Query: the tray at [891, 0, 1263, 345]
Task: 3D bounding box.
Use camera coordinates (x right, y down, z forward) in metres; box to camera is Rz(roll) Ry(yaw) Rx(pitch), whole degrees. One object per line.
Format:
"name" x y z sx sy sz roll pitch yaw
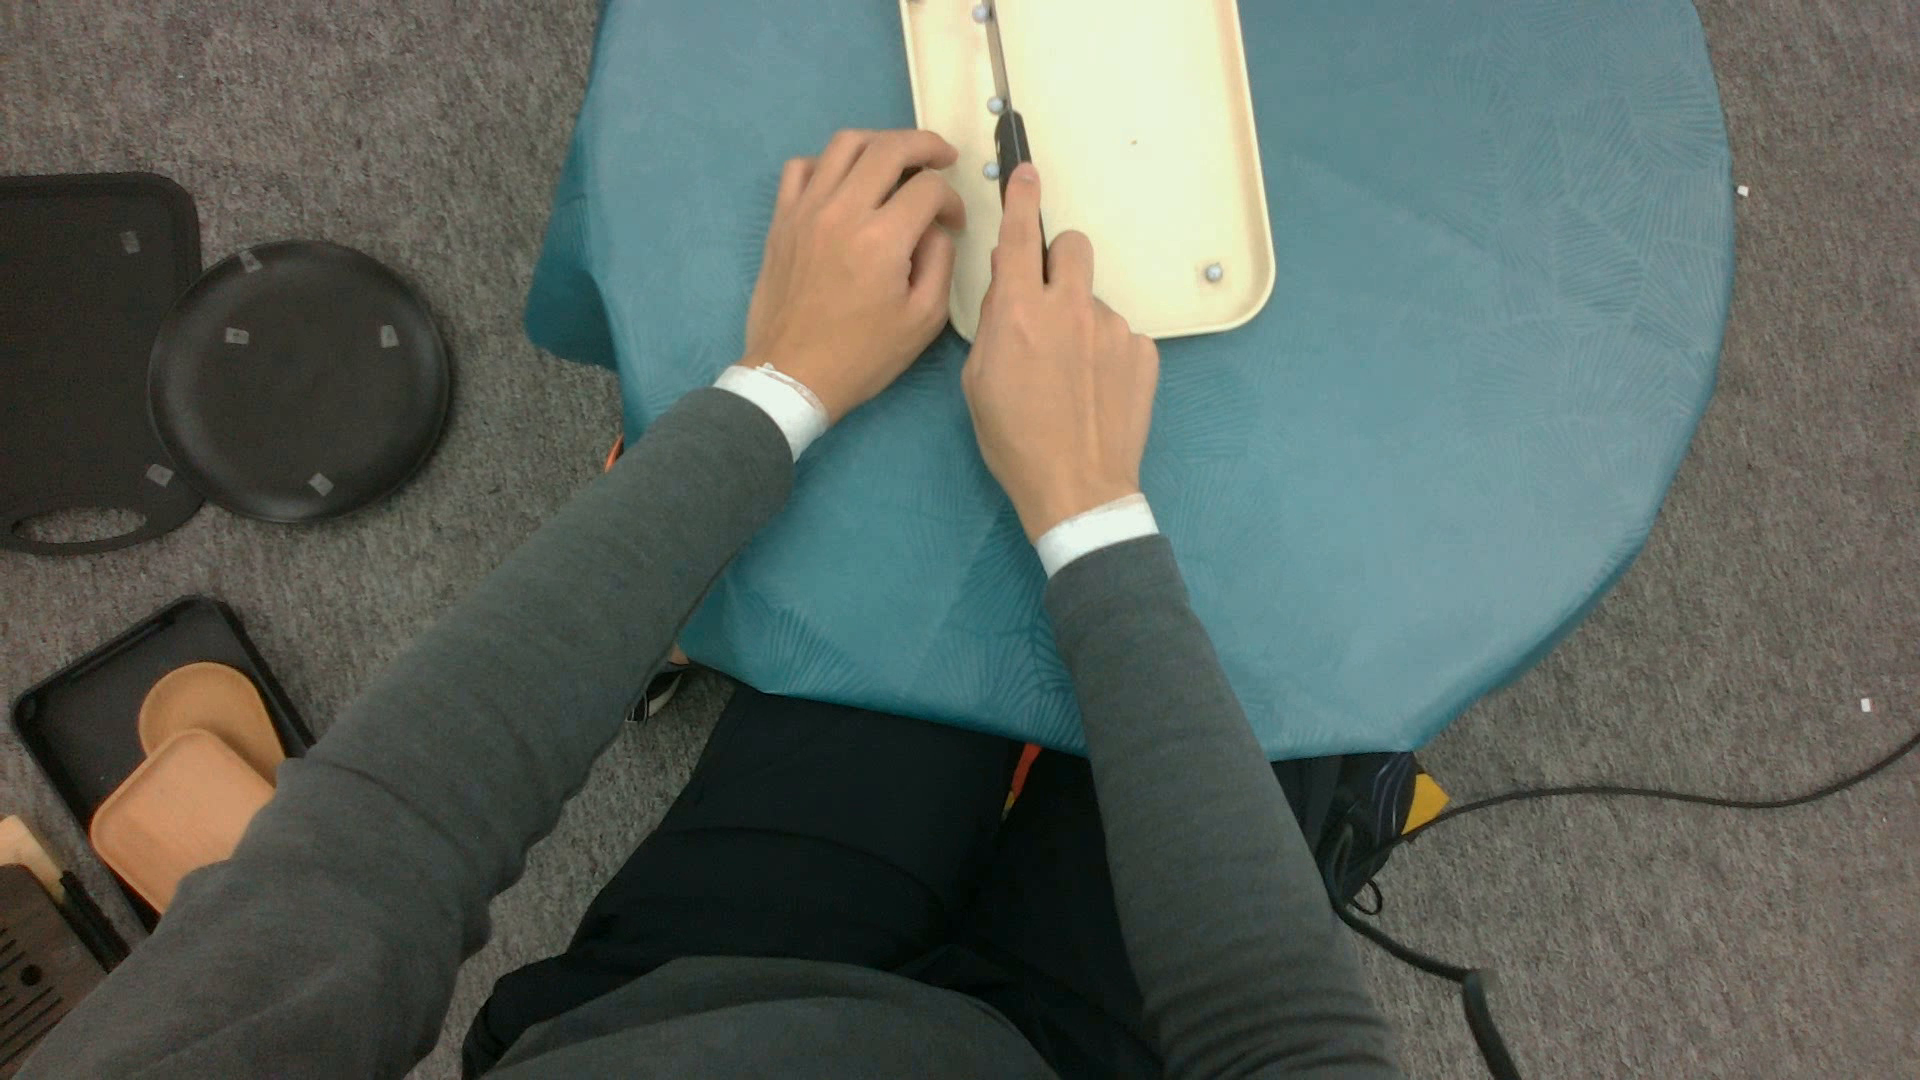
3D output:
"tray" 0.056 -0.220 0.694 0.171 0.017 0.240 -7 86 -8

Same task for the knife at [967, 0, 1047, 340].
"knife" 0.016 -0.209 0.668 0.016 0.024 0.238 -7 74 -7
